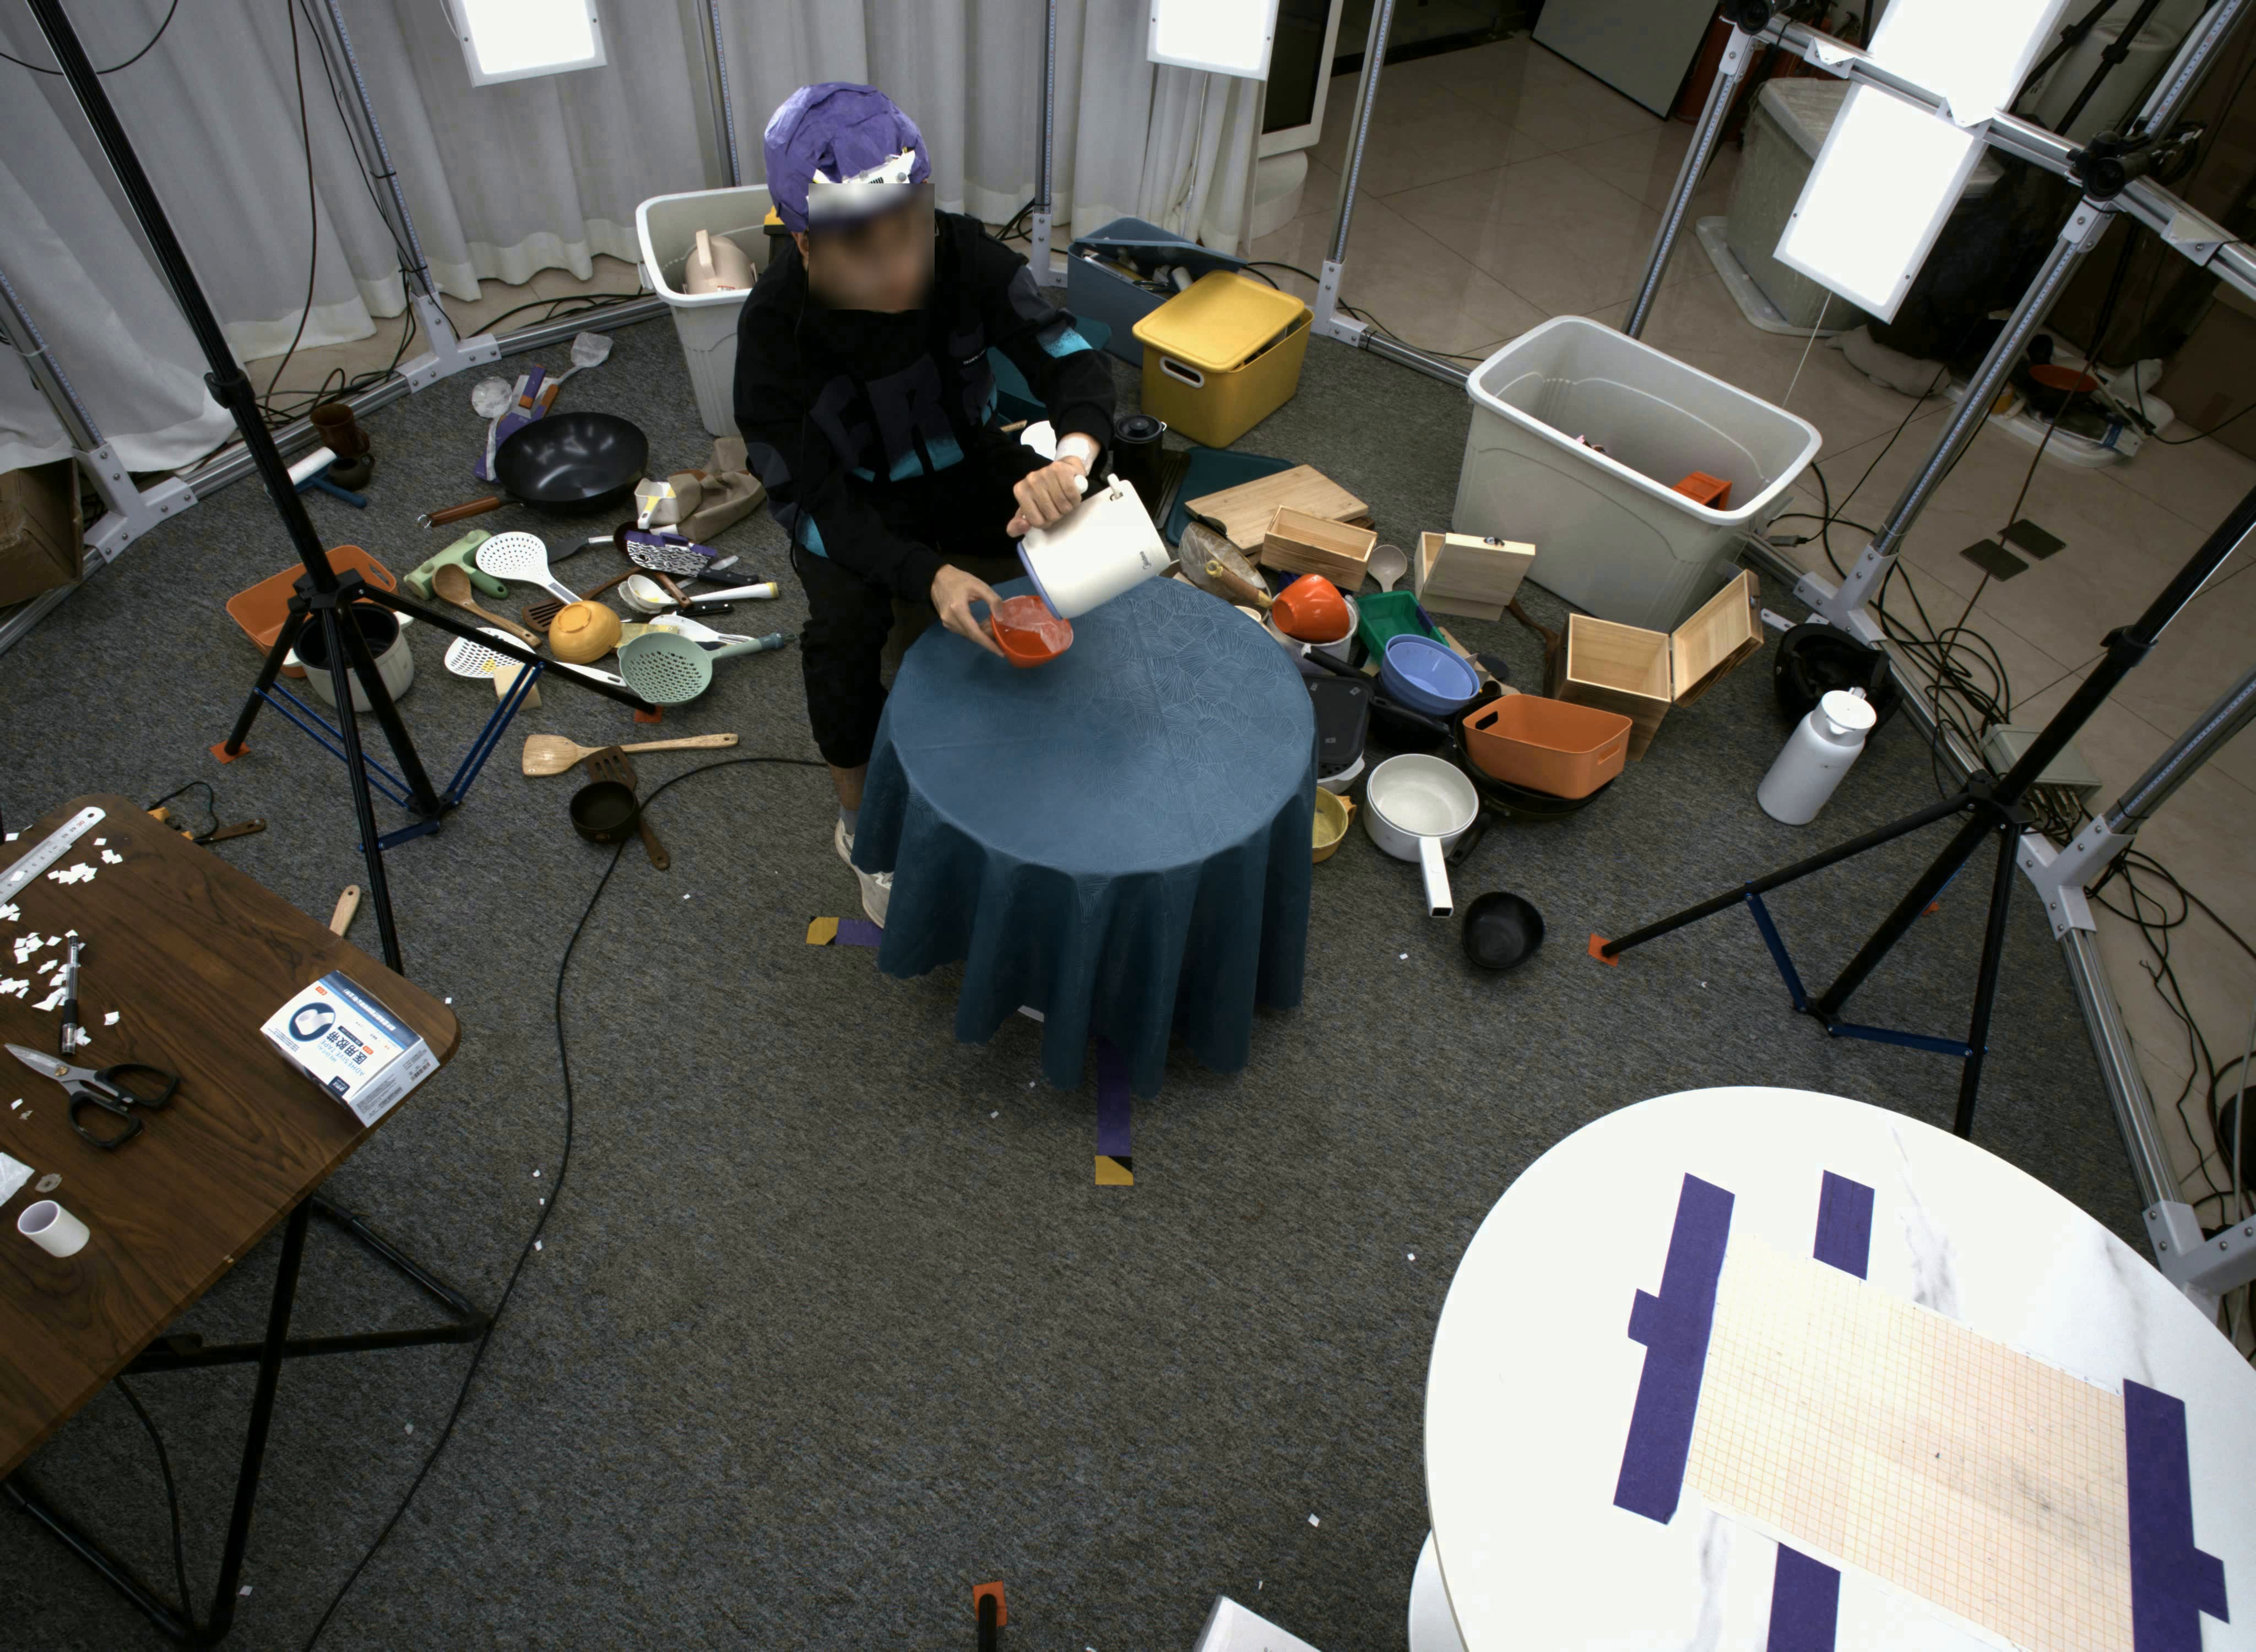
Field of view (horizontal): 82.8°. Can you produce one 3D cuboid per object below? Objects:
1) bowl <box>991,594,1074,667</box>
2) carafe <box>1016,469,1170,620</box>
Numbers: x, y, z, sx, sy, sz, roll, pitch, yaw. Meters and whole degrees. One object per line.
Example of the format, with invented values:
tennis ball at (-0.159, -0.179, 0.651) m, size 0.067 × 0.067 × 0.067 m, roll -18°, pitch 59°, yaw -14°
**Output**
bowl at (-0.138, -0.267, 1.805) m, size 0.118 × 0.050 × 0.121 m, roll 7°, pitch 56°, yaw -11°
carafe at (-0.055, -0.381, 1.699) m, size 0.182 × 0.186 × 0.135 m, roll -27°, pitch 46°, yaw 3°
